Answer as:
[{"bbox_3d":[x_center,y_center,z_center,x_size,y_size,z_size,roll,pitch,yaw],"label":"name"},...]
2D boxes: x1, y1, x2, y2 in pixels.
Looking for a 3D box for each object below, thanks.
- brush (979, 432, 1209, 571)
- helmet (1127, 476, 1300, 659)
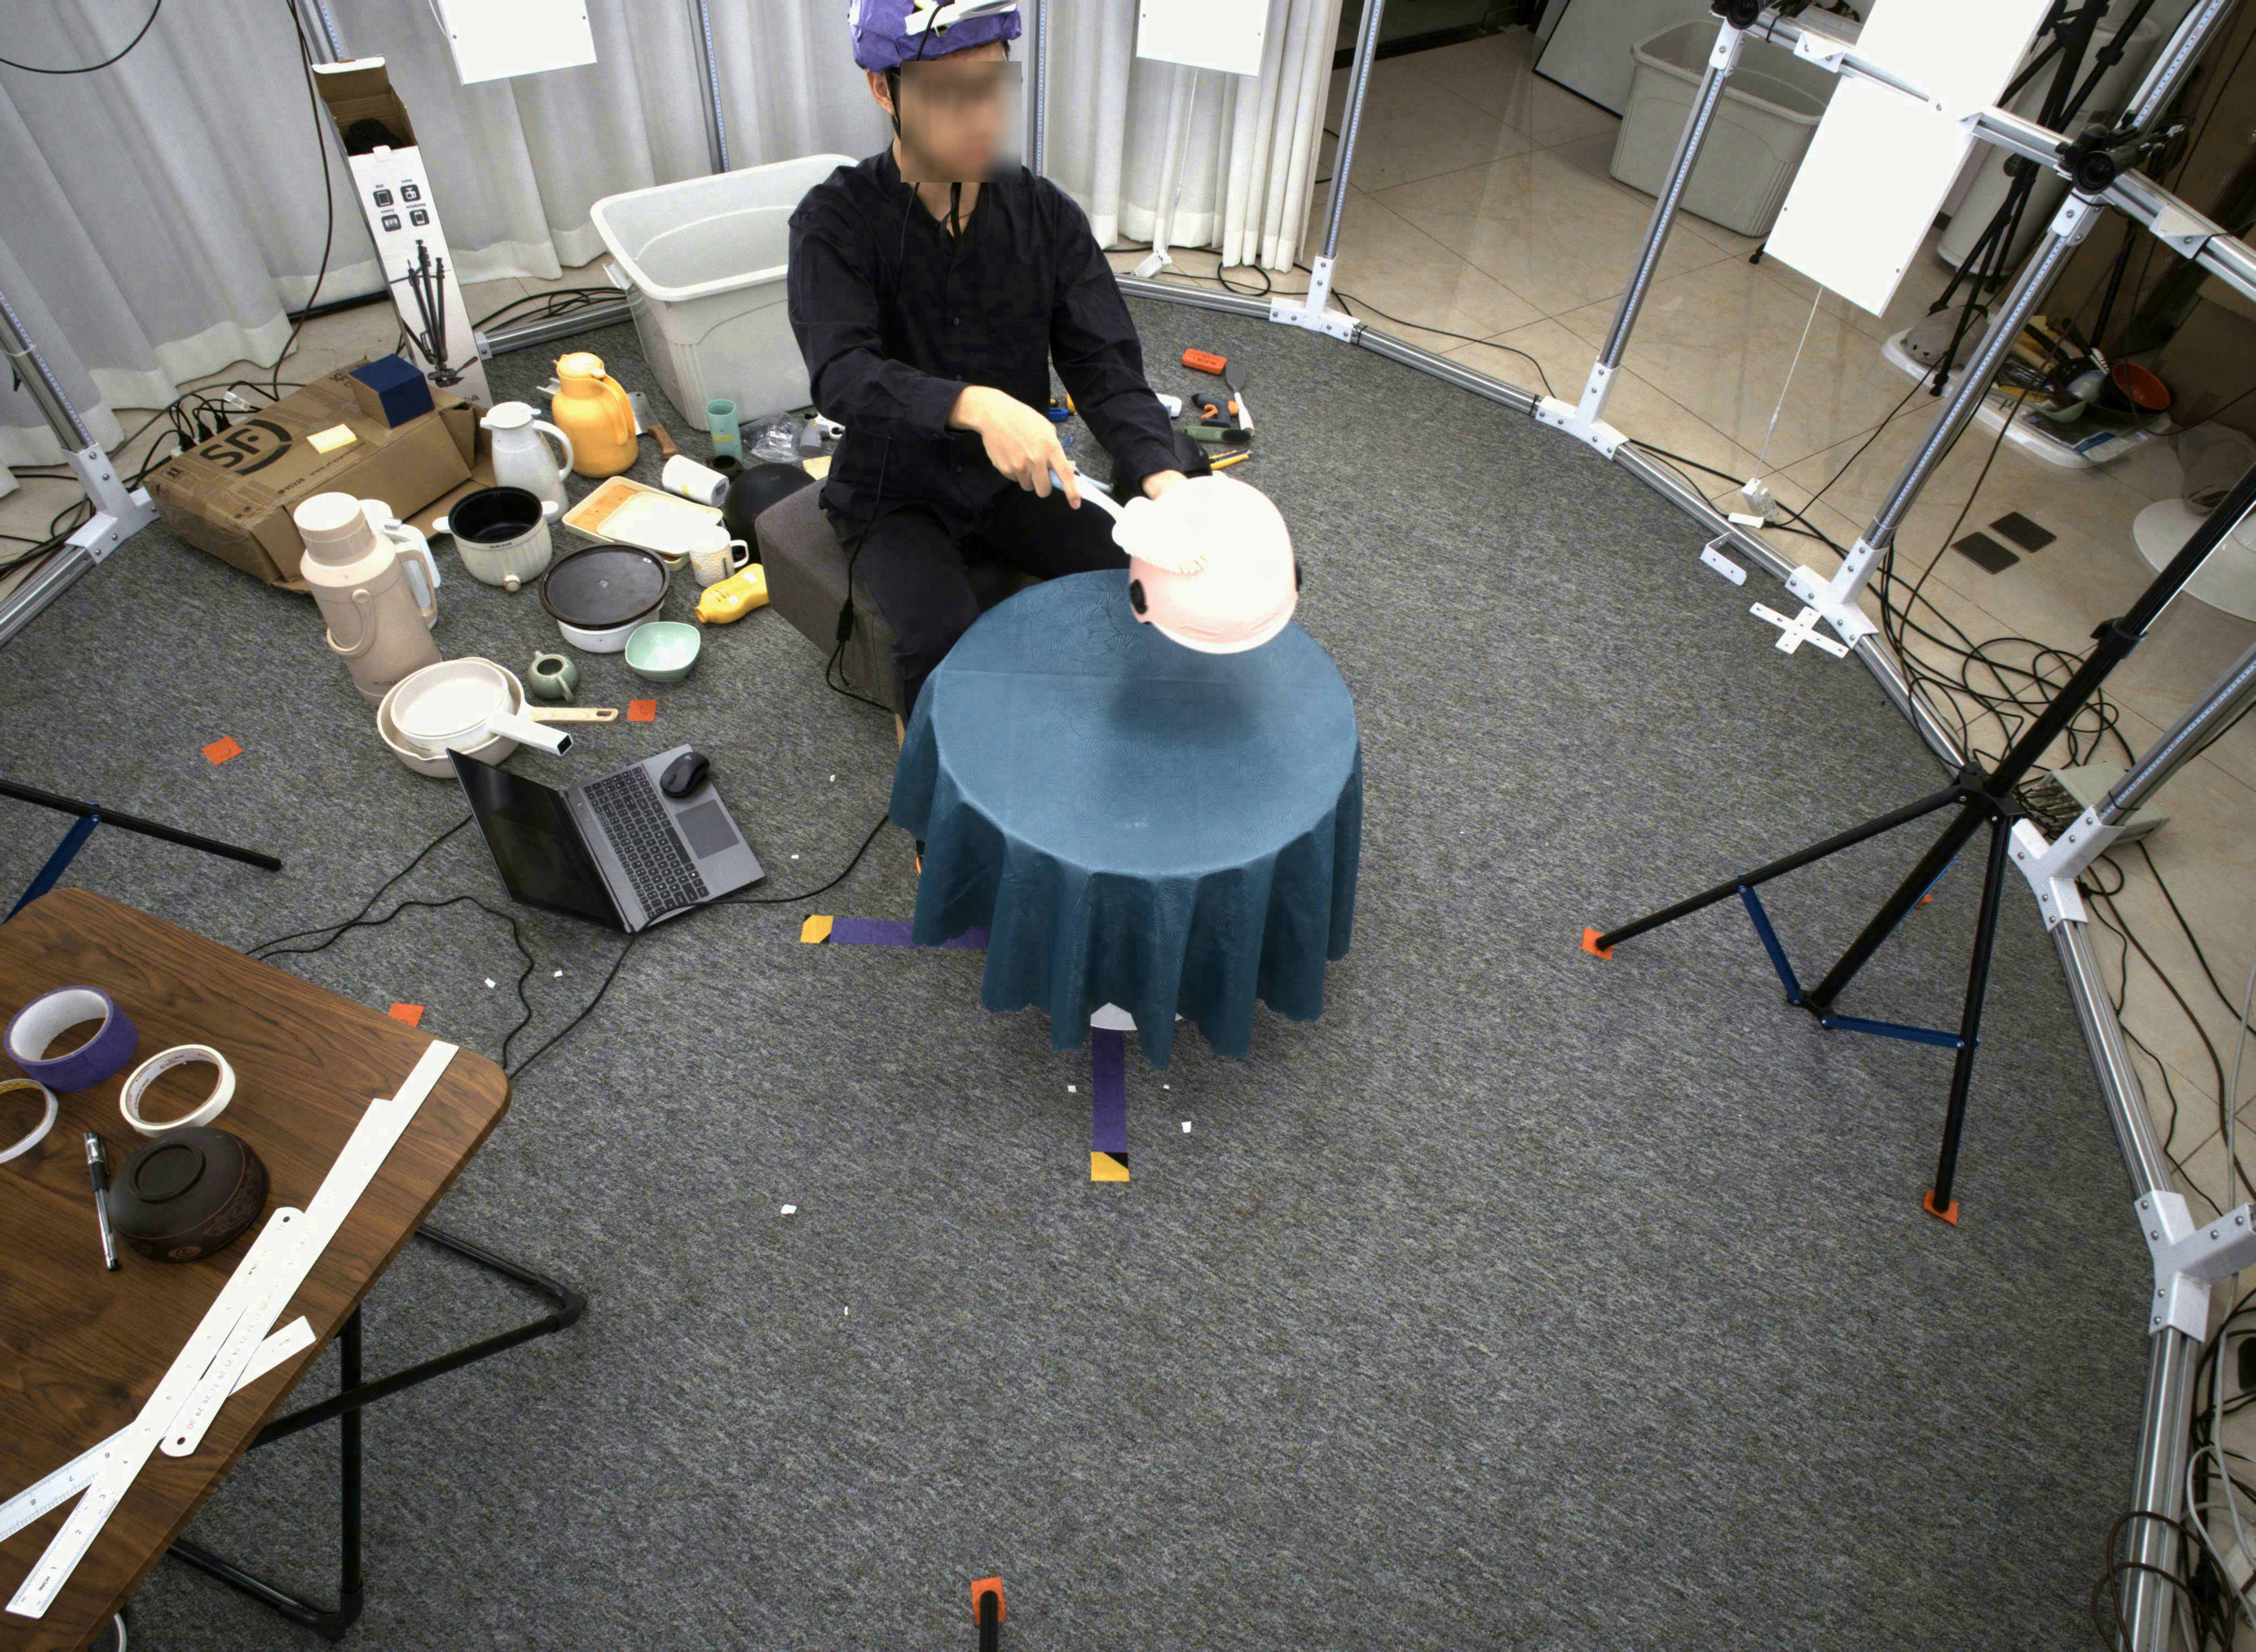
[{"bbox_3d":[-0.040,-0.410,1.627,0.328,0.082,0.084,29,48,14],"label":"brush"},{"bbox_3d":[0.110,-0.359,1.691,0.234,0.155,0.273,-9,49,-4],"label":"helmet"}]
